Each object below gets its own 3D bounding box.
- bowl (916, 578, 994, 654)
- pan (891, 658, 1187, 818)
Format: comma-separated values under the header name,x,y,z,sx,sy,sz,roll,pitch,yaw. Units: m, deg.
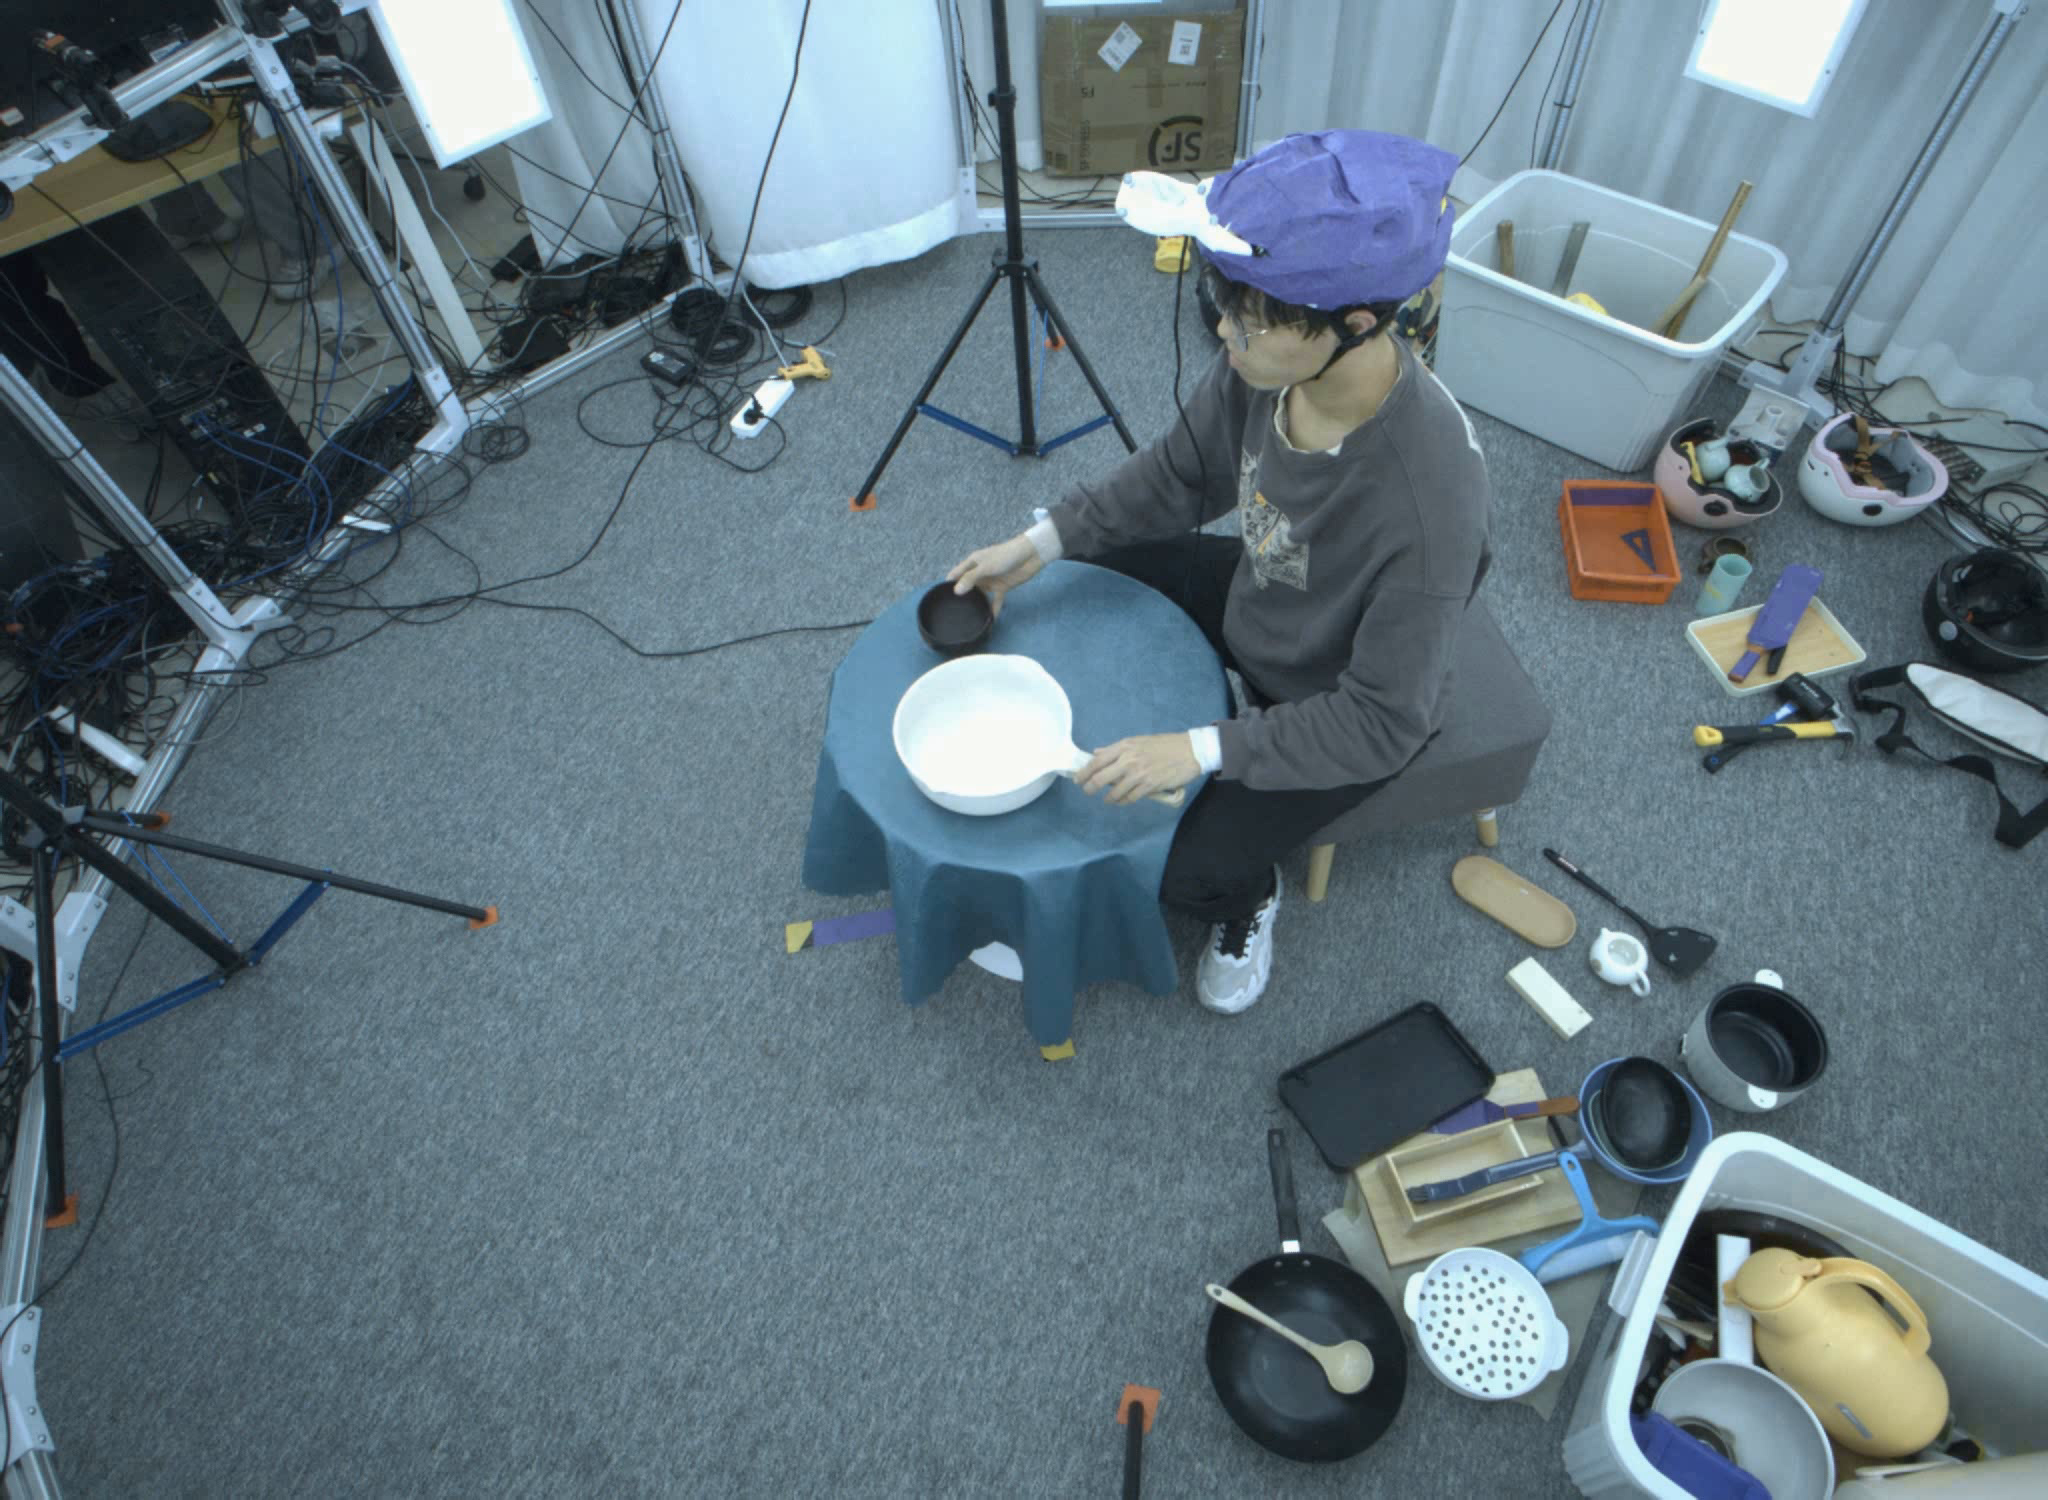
name,x,y,z,sx,sy,sz,roll,pitch,yaw
bowl,-0.104,-0.197,1.873,0.118,0.070,0.117,0,63,1
pan,0.022,0.017,1.711,0.429,0.103,0.264,23,56,17
